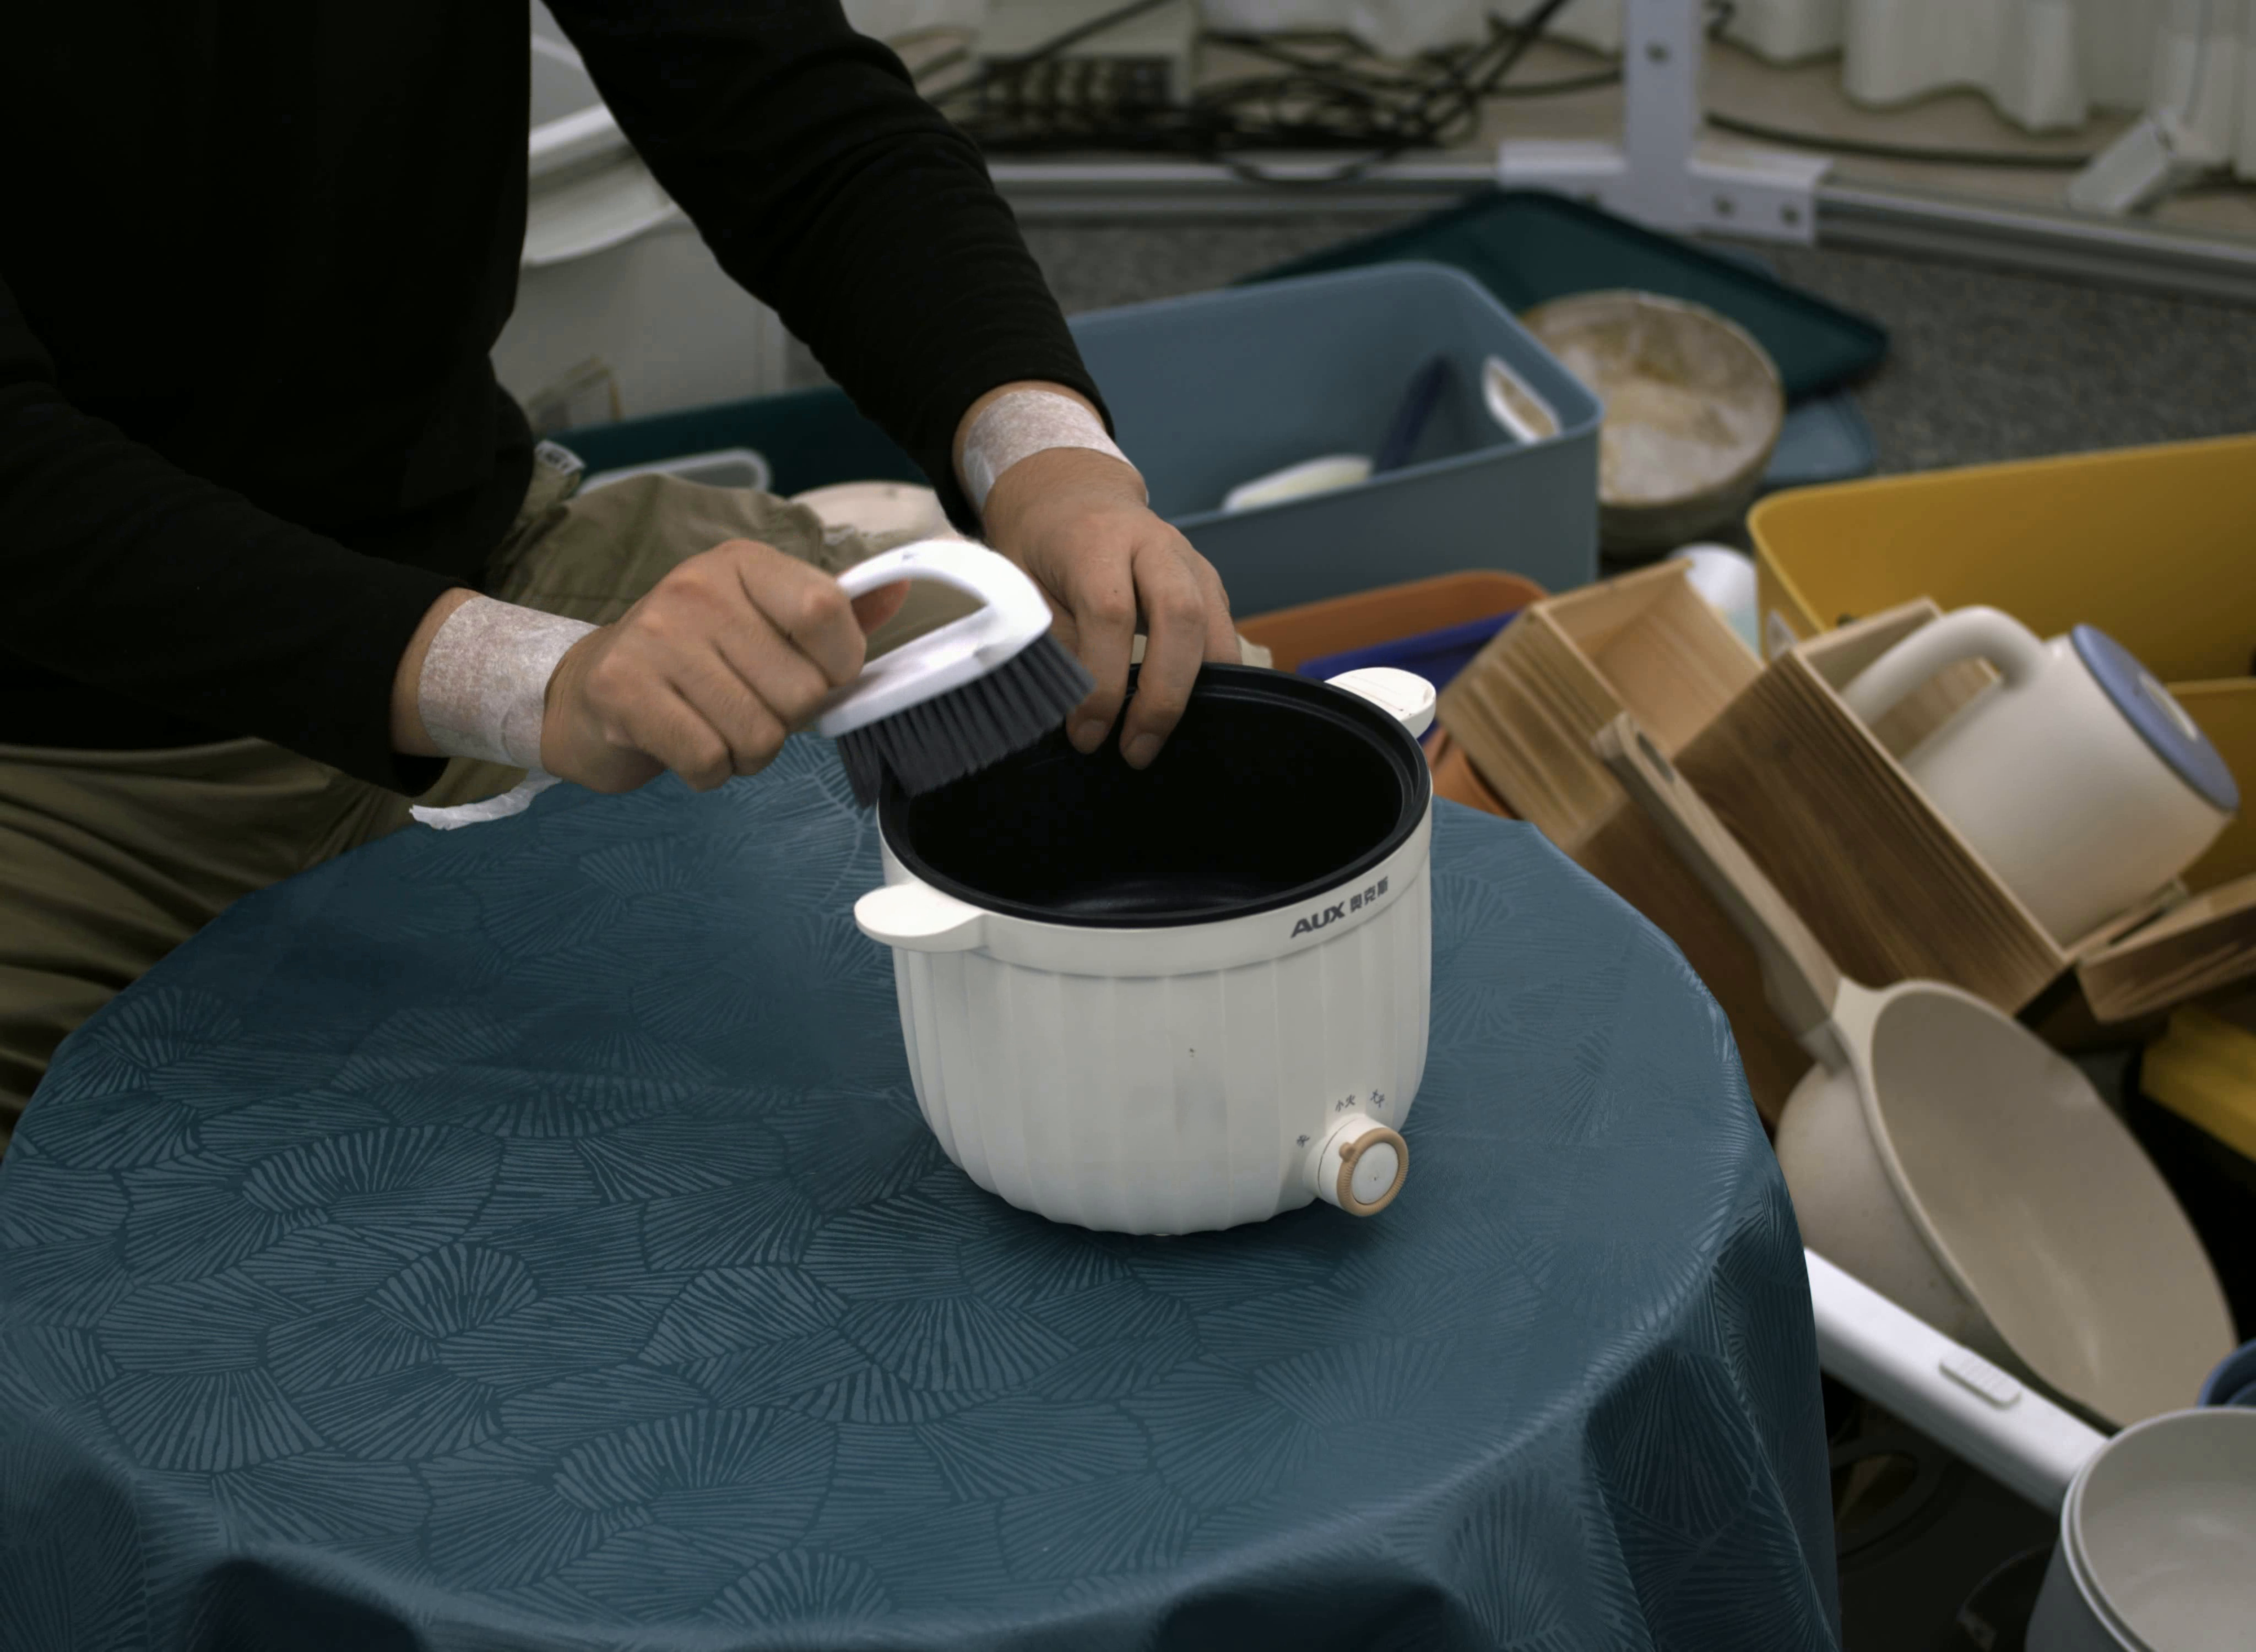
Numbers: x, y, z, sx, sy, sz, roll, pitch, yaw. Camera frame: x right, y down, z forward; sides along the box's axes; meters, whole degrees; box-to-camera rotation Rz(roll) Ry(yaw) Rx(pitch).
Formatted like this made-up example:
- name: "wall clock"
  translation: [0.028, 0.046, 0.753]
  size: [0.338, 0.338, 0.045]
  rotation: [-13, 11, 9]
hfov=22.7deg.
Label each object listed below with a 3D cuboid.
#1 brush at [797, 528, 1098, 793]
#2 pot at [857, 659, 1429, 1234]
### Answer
- name: "brush"
  translation: [-0.067, -0.060, 1.853]
  size: [0.098, 0.072, 0.051]
  rotation: [-24, 15, 39]
- name: "pot"
  translation: [0.016, 0.045, 1.858]
  size: [0.243, 0.141, 0.190]
  rotation: [-26, 32, -35]
